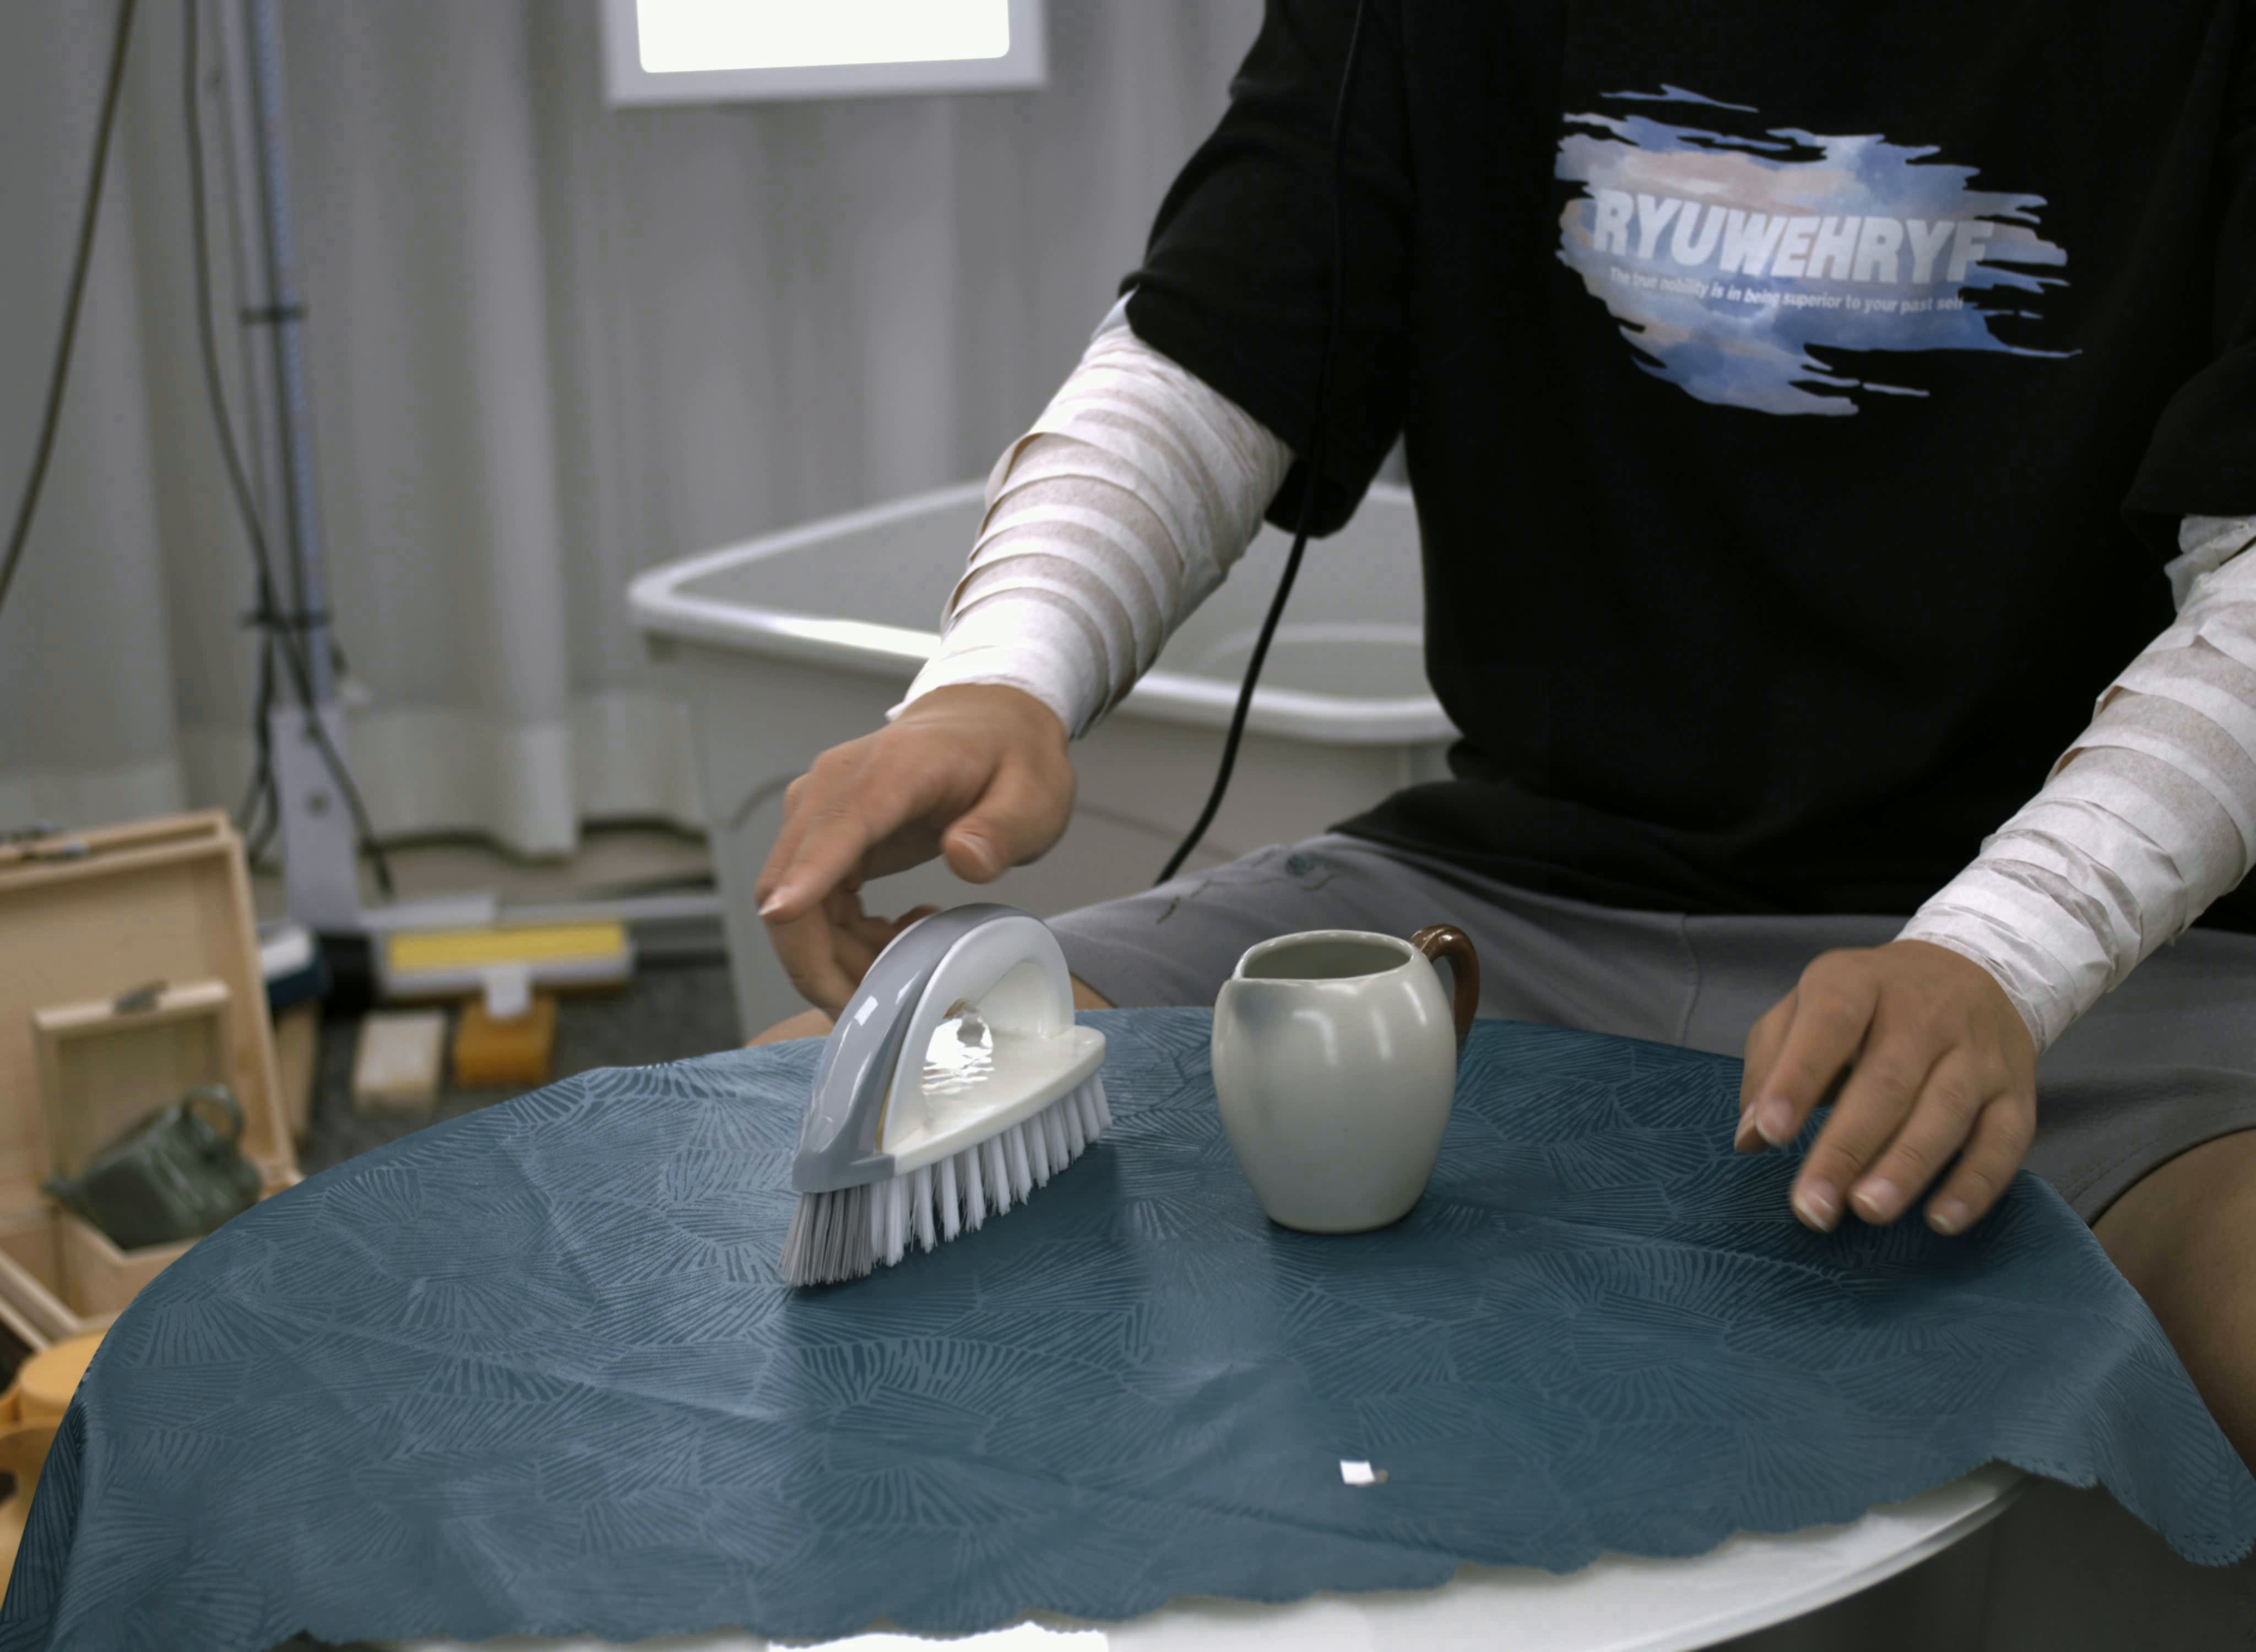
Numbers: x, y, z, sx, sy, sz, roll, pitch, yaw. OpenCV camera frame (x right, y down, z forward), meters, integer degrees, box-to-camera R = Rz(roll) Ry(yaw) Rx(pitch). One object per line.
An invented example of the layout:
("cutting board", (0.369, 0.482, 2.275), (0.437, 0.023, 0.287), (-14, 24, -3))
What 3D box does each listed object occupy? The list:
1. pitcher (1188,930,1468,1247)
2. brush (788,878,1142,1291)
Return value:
("pitcher", (0.062, 0.078, 1.672), (0.119, 0.087, 0.076), (-17, 24, -40))
("brush", (-0.059, 0.074, 1.694), (0.061, 0.094, 0.176), (4, 20, 29))
